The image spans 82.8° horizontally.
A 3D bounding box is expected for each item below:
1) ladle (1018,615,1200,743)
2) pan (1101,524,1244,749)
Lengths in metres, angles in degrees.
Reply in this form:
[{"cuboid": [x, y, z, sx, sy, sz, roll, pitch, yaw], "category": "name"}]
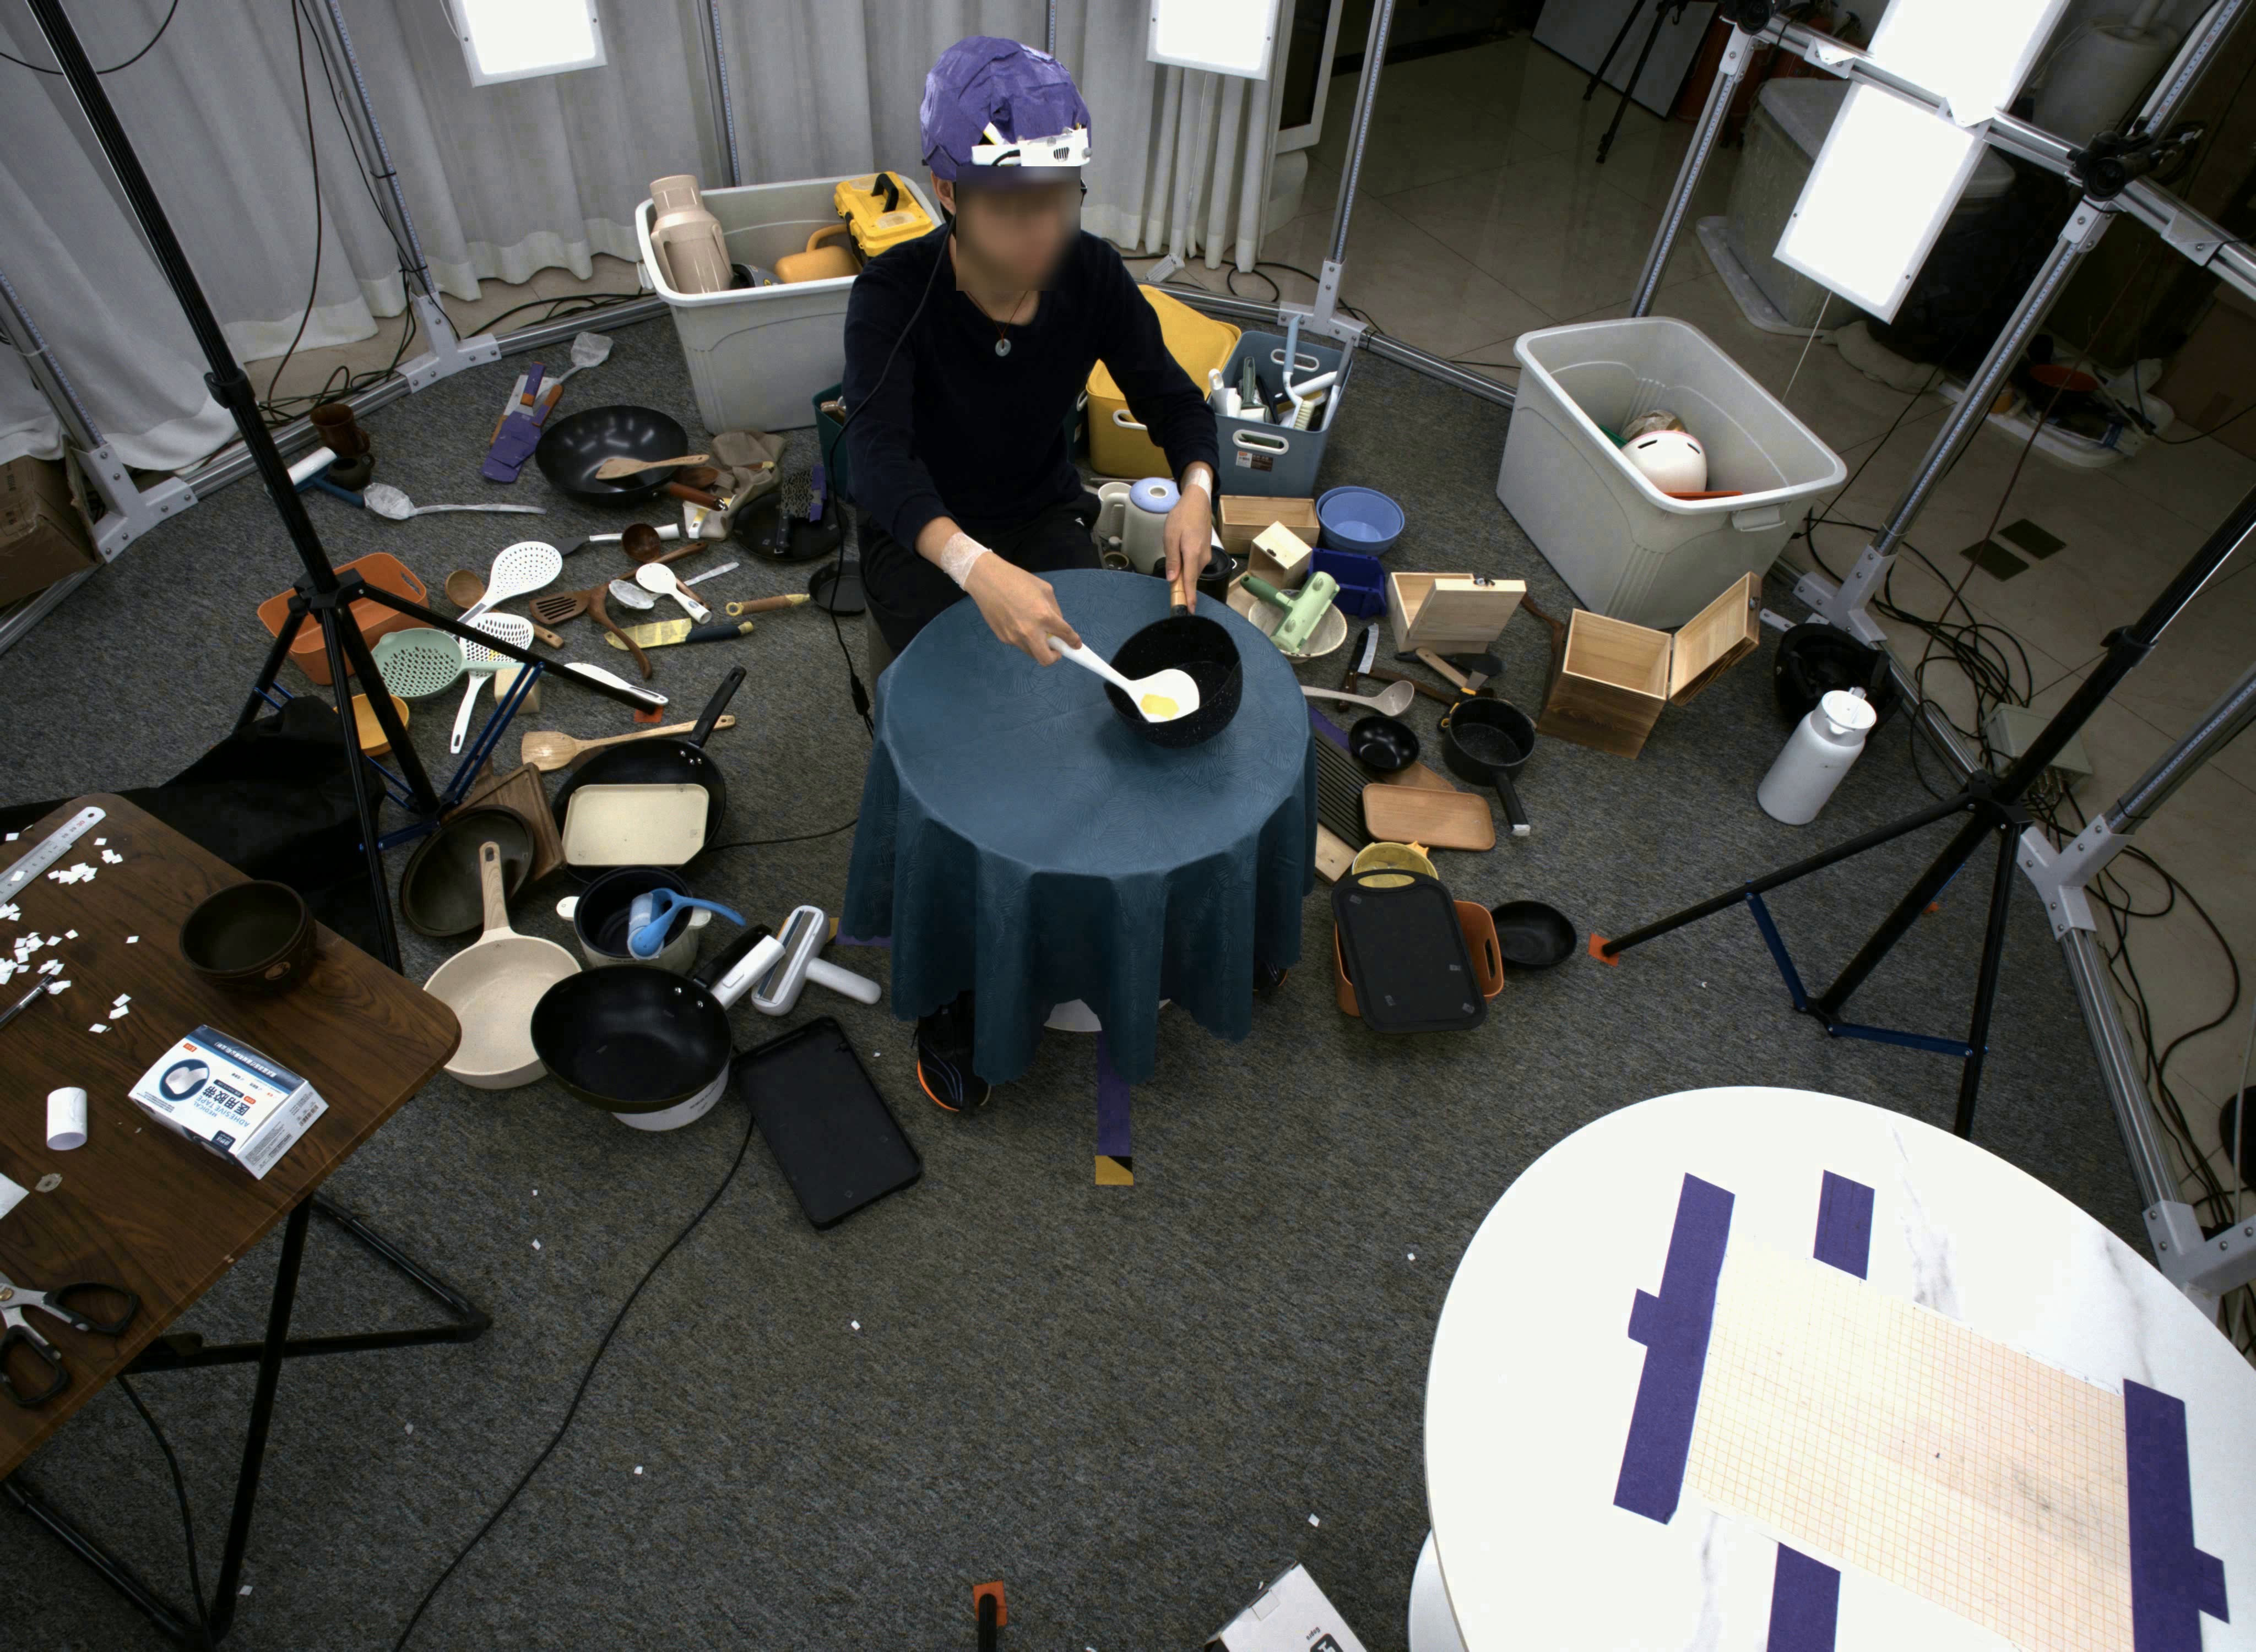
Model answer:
[{"cuboid": [-0.020, -0.191, 1.624, 0.070, 0.288, 0.090, 15, 82, 41], "category": "ladle"}, {"cuboid": [0.072, -0.263, 1.789, 0.207, 0.106, 0.351, -9, 54, 20], "category": "pan"}]
